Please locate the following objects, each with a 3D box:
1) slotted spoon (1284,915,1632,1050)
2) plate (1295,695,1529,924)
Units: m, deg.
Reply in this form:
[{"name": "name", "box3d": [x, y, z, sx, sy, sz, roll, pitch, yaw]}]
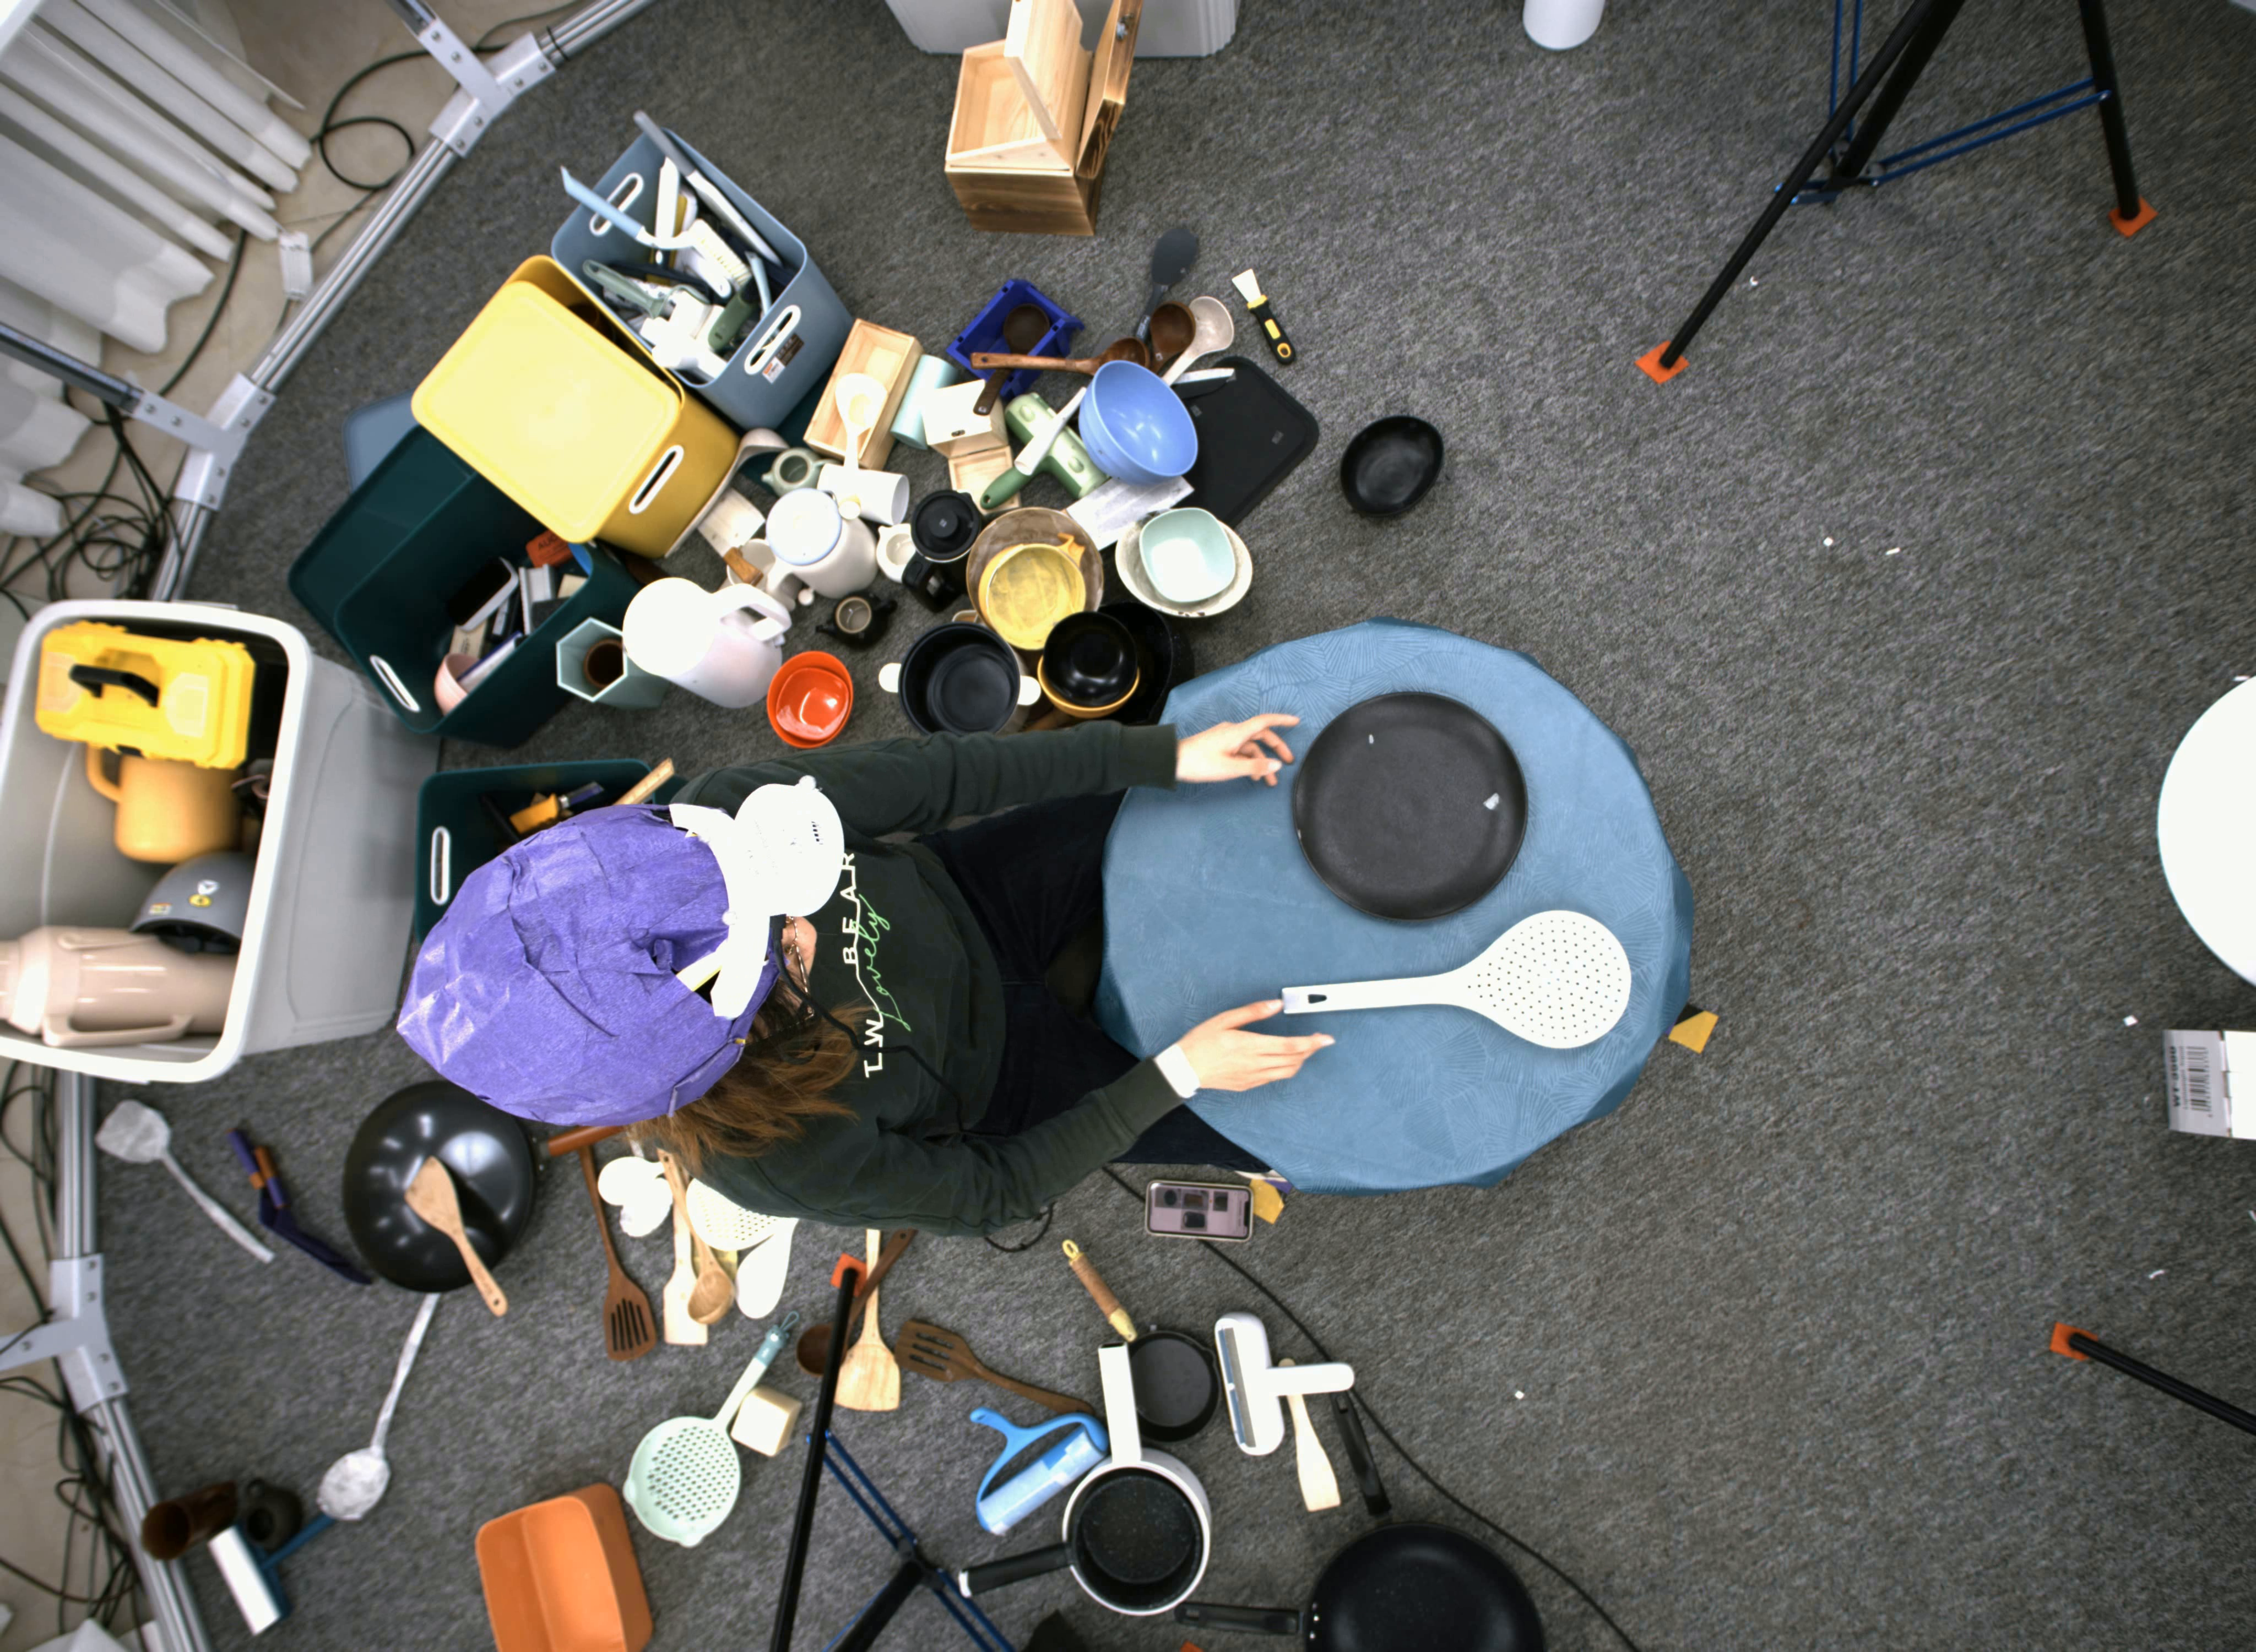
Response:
[{"name": "slotted spoon", "box3d": [0.335, 0.168, 1.423, 0.351, 0.046, 0.135, -6, 83, 11]}, {"name": "plate", "box3d": [0.298, -0.019, 1.454, 0.245, 0.023, 0.243, -1, 86, 10]}]
